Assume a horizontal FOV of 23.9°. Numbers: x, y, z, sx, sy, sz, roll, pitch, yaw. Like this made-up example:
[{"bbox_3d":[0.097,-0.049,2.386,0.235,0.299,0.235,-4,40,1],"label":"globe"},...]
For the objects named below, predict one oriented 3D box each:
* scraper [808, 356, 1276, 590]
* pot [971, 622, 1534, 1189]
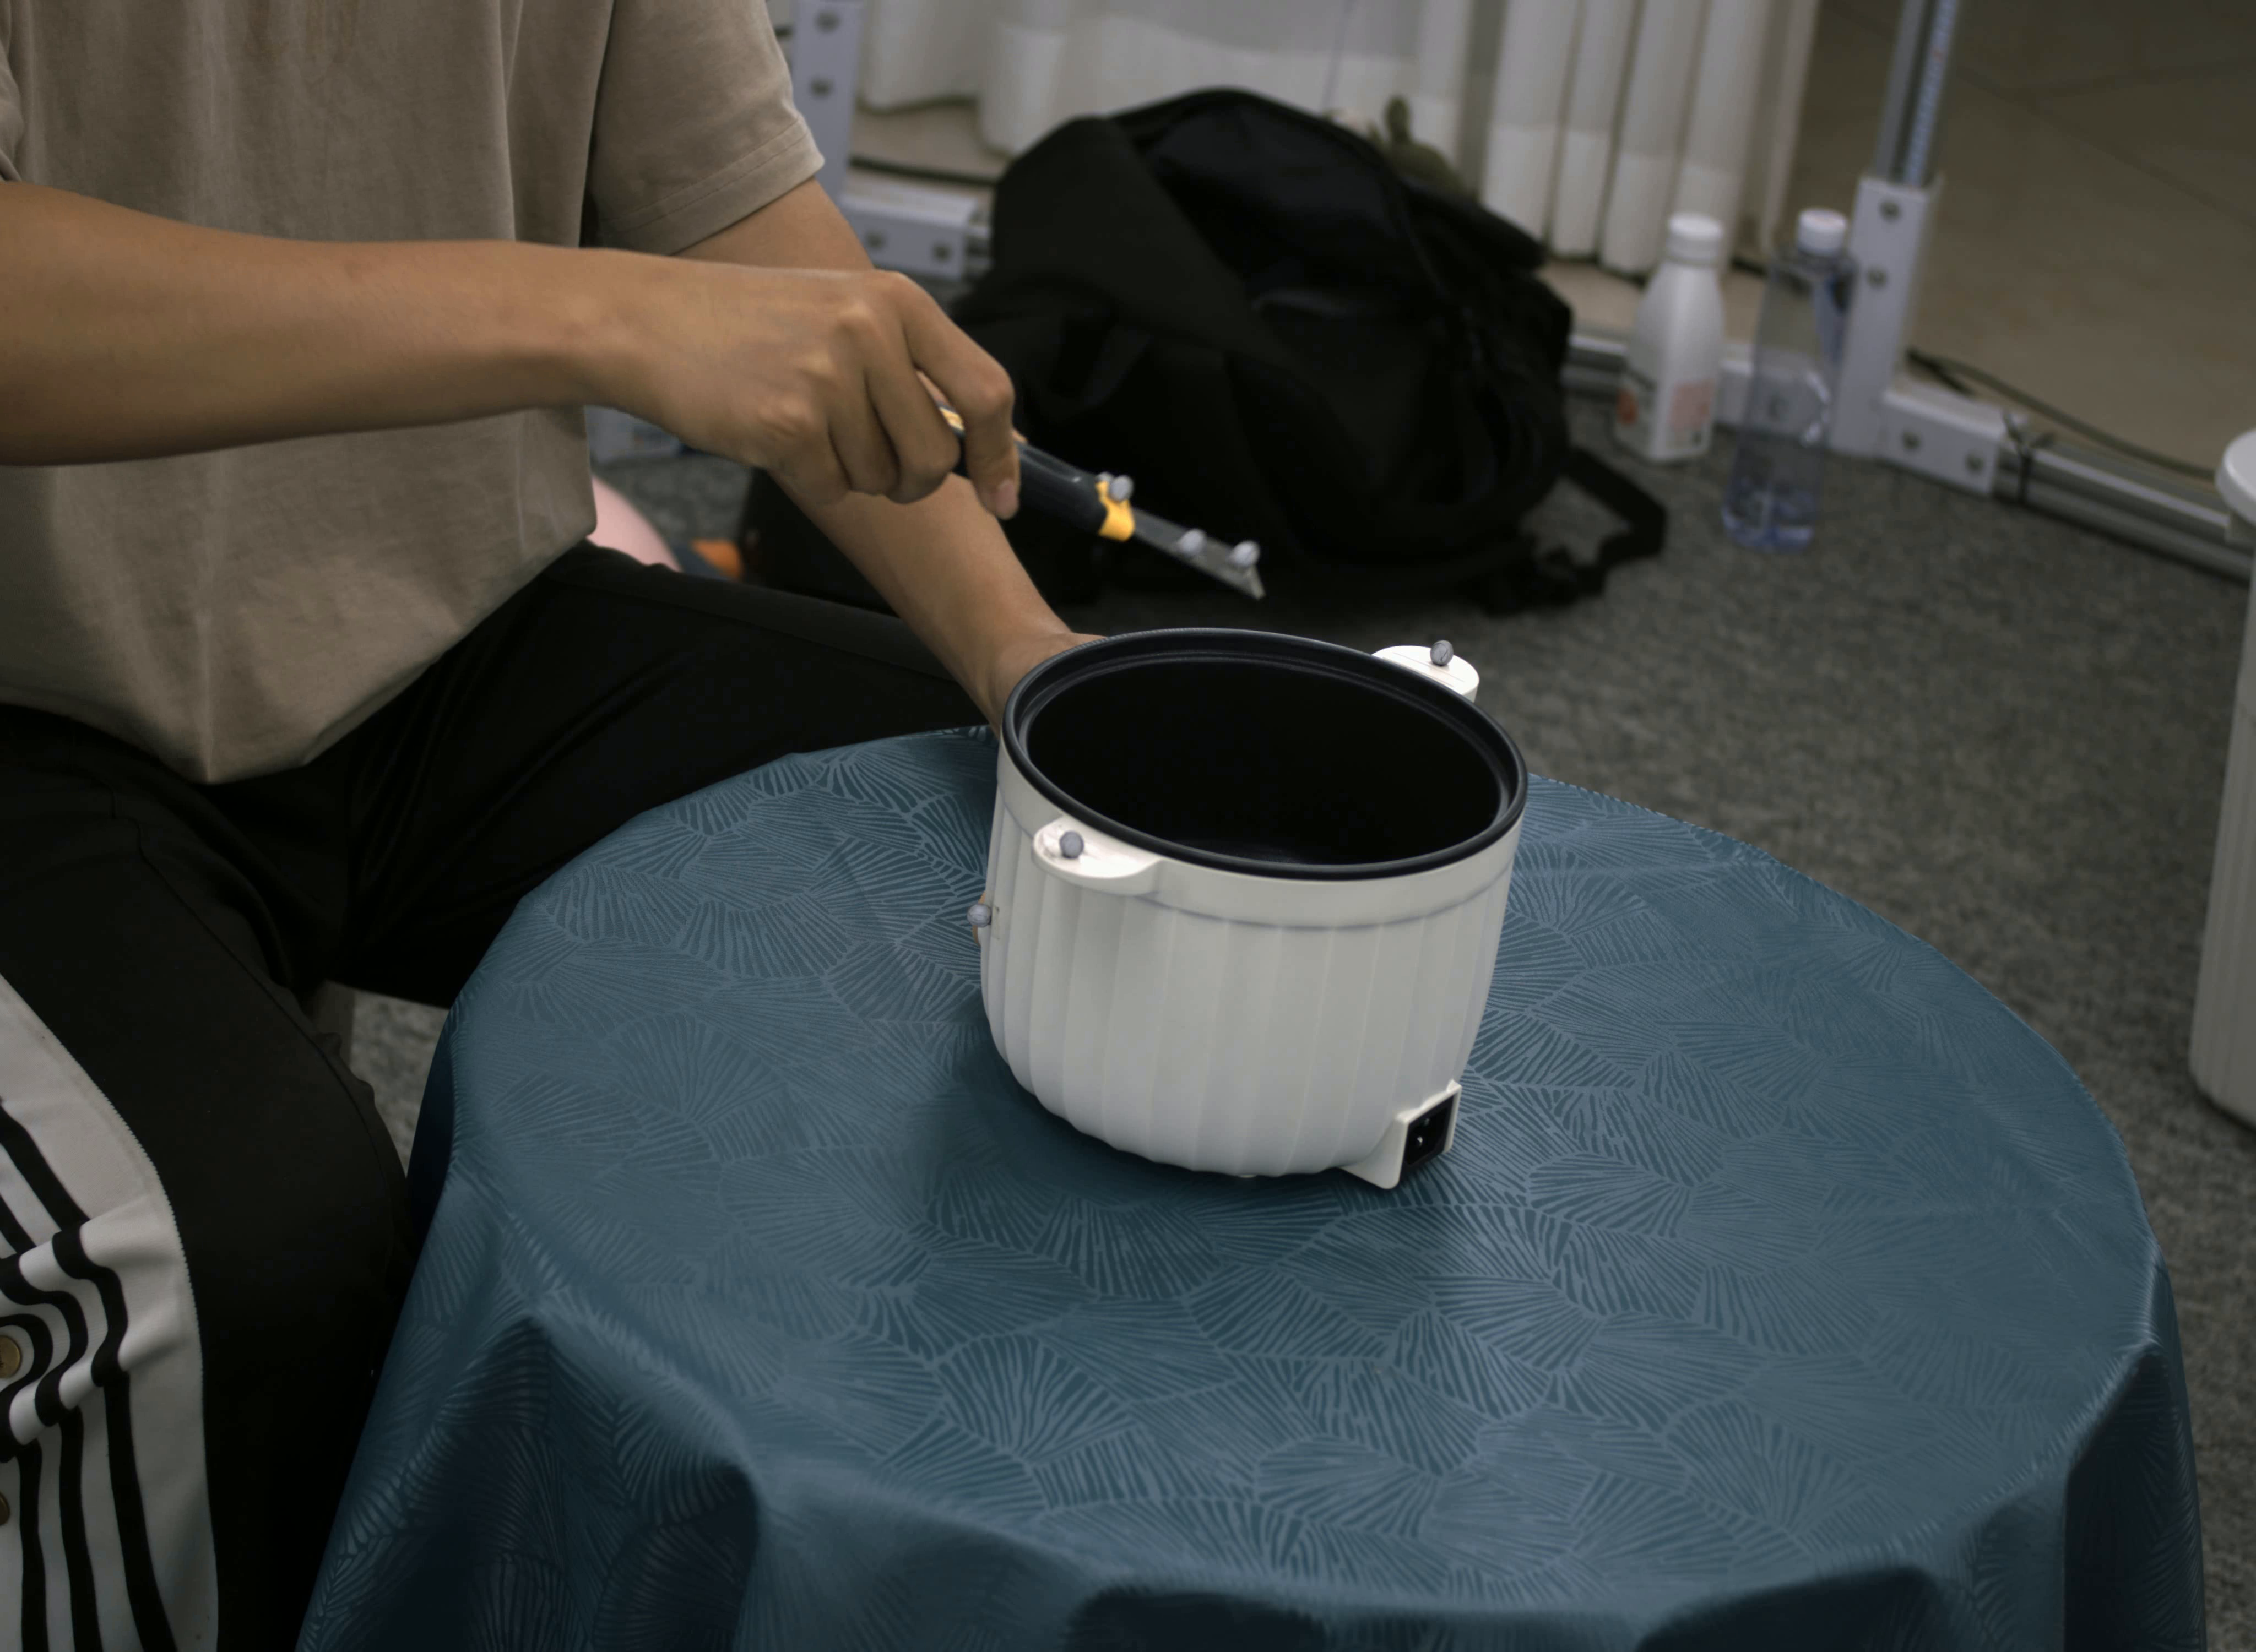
[{"bbox_3d":[-0.027,-0.116,1.748,0.170,0.015,0.039,21,27,-17],"label":"scraper"},{"bbox_3d":[0.035,0.029,1.845,0.191,0.142,0.239,27,32,26],"label":"pot"}]
